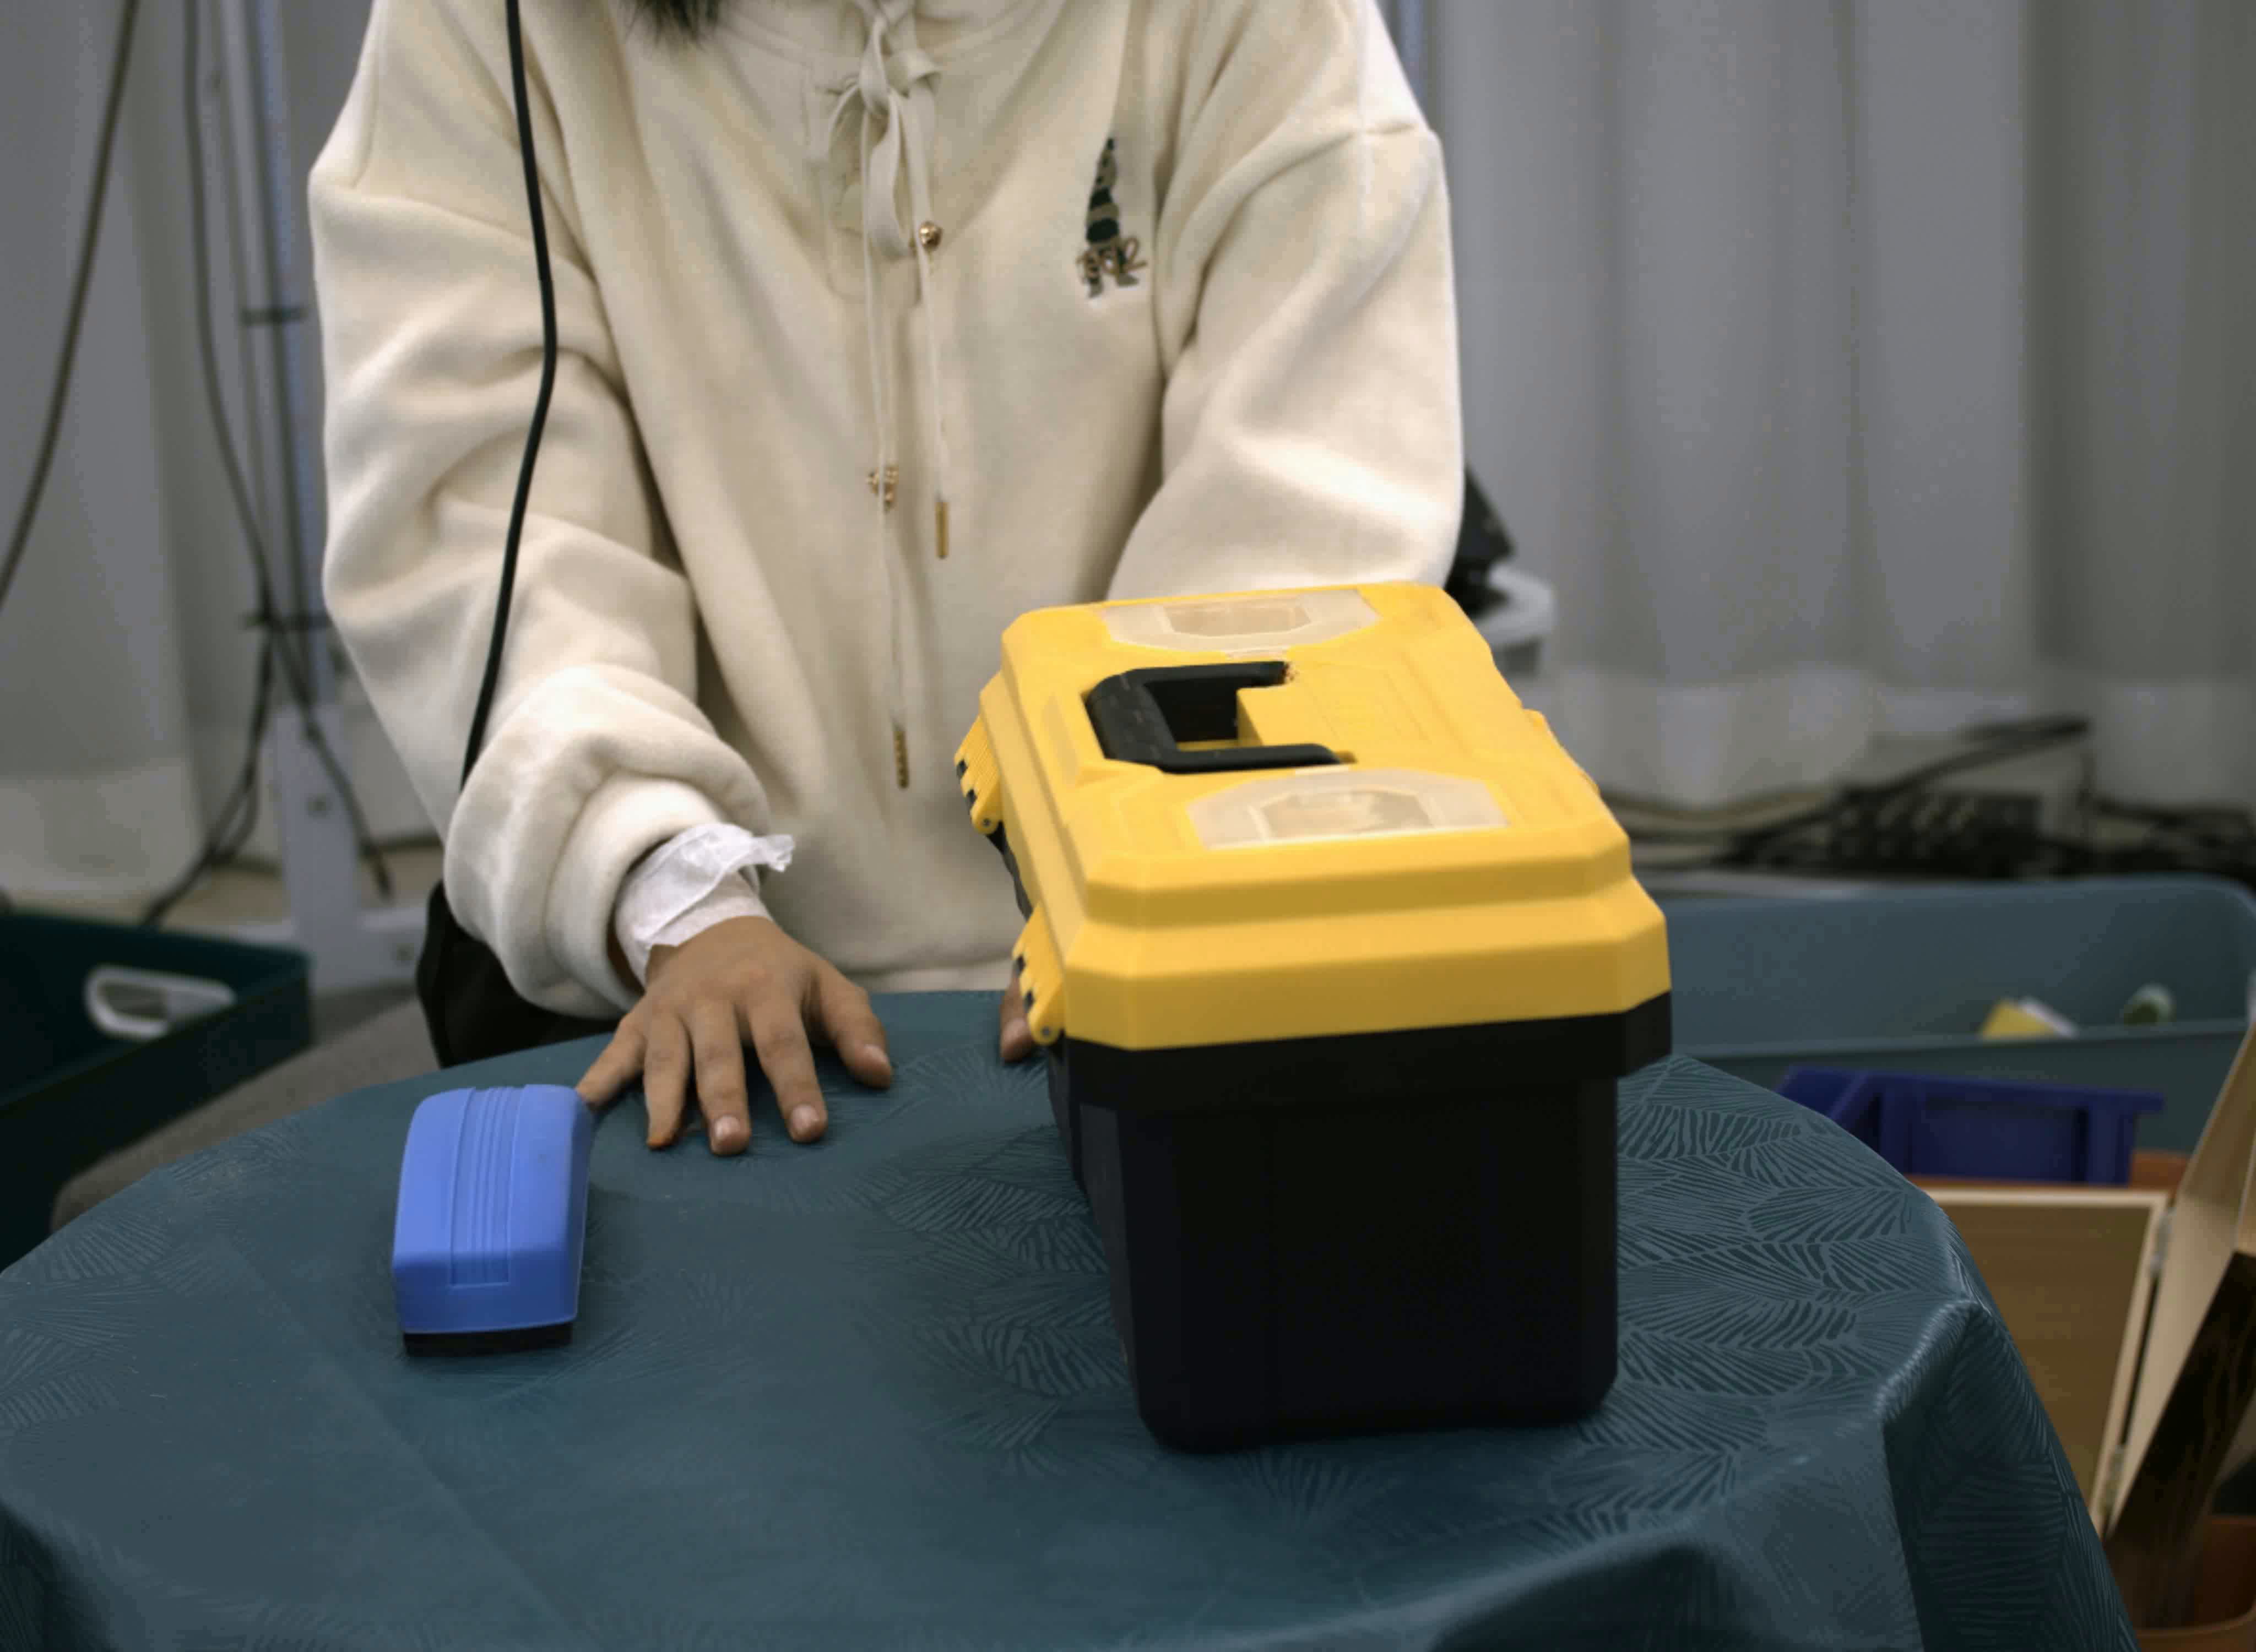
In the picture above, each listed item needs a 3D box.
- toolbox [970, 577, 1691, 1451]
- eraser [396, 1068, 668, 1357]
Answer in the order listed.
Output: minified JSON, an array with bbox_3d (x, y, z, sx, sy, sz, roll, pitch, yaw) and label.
[{"bbox_3d":[0.052,0.046,1.626,0.180,0.172,0.354,-5,15,-4],"label":"toolbox"},{"bbox_3d":[-0.180,0.111,1.664,0.054,0.047,0.163,-3,17,7],"label":"eraser"}]
